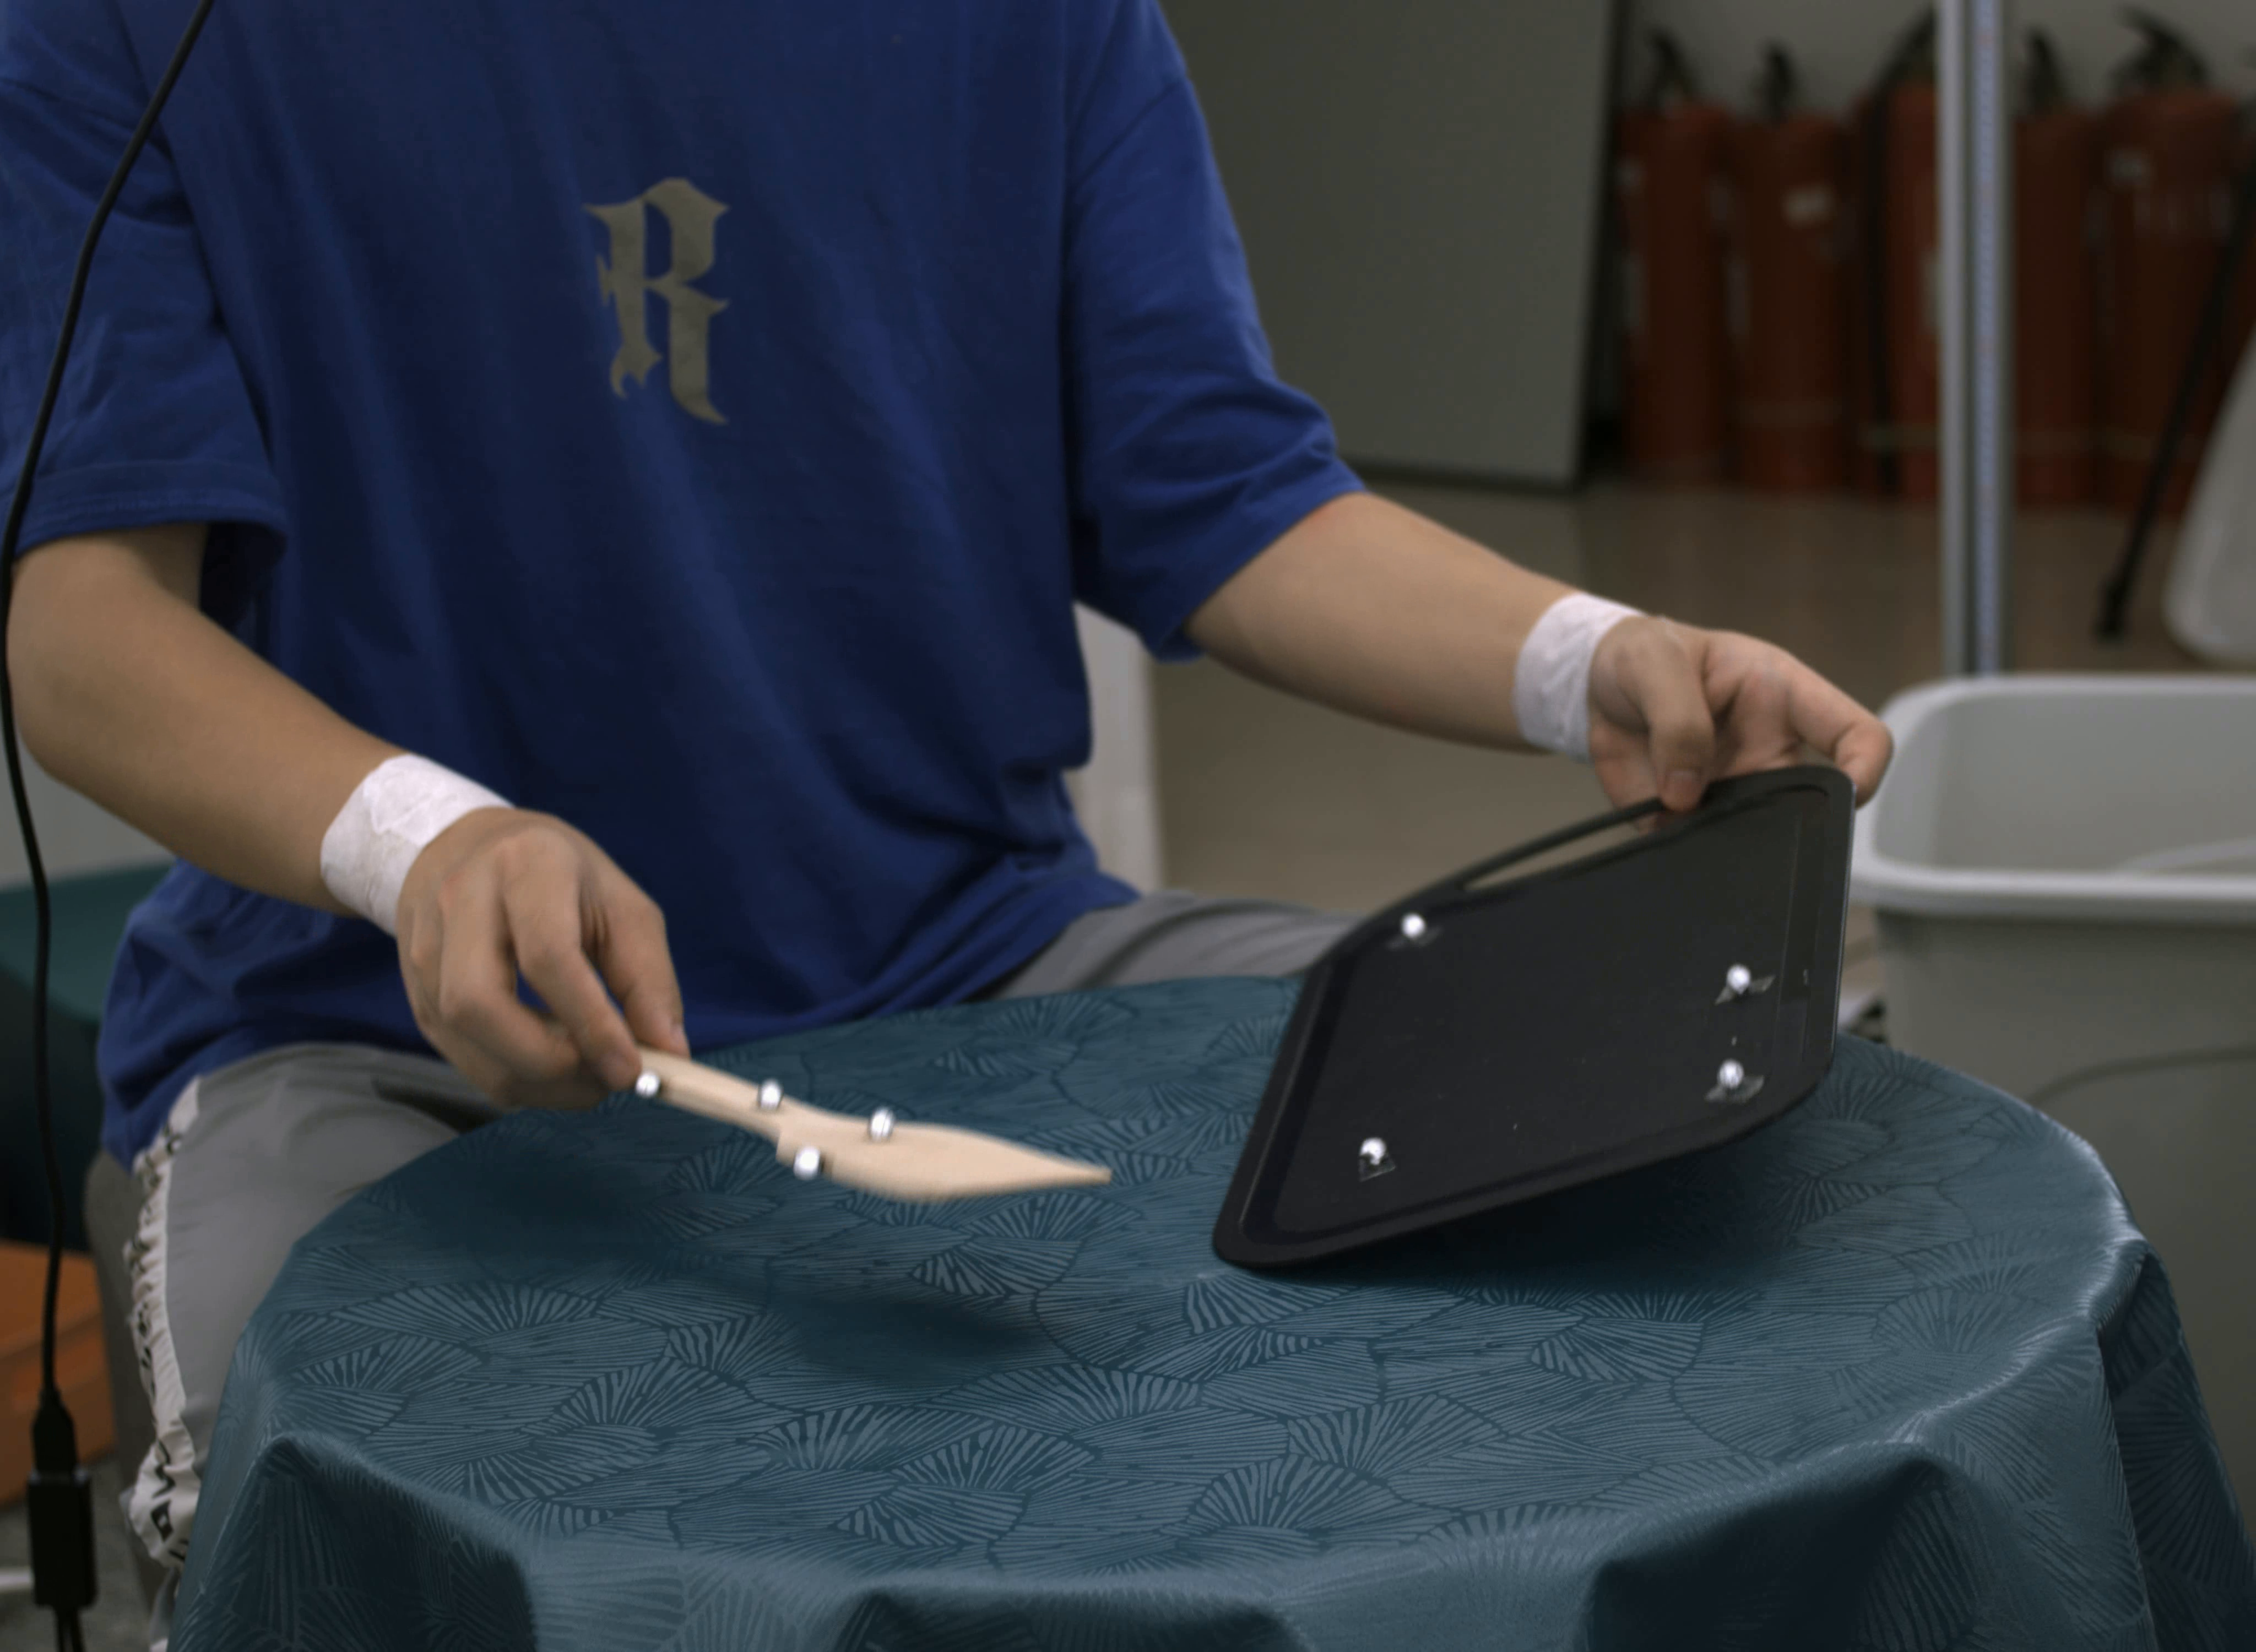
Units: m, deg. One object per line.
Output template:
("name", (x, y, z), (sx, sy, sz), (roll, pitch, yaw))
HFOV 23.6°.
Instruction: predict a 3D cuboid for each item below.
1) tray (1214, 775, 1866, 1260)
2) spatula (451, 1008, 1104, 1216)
("tray", (0.142, 0.056, 1.796), (0.211, 0.010, 0.324), (-19, 16, 18))
("spatula", (-0.126, 0.090, 1.722), (0.070, 0.011, 0.296), (-4, 12, -41))
